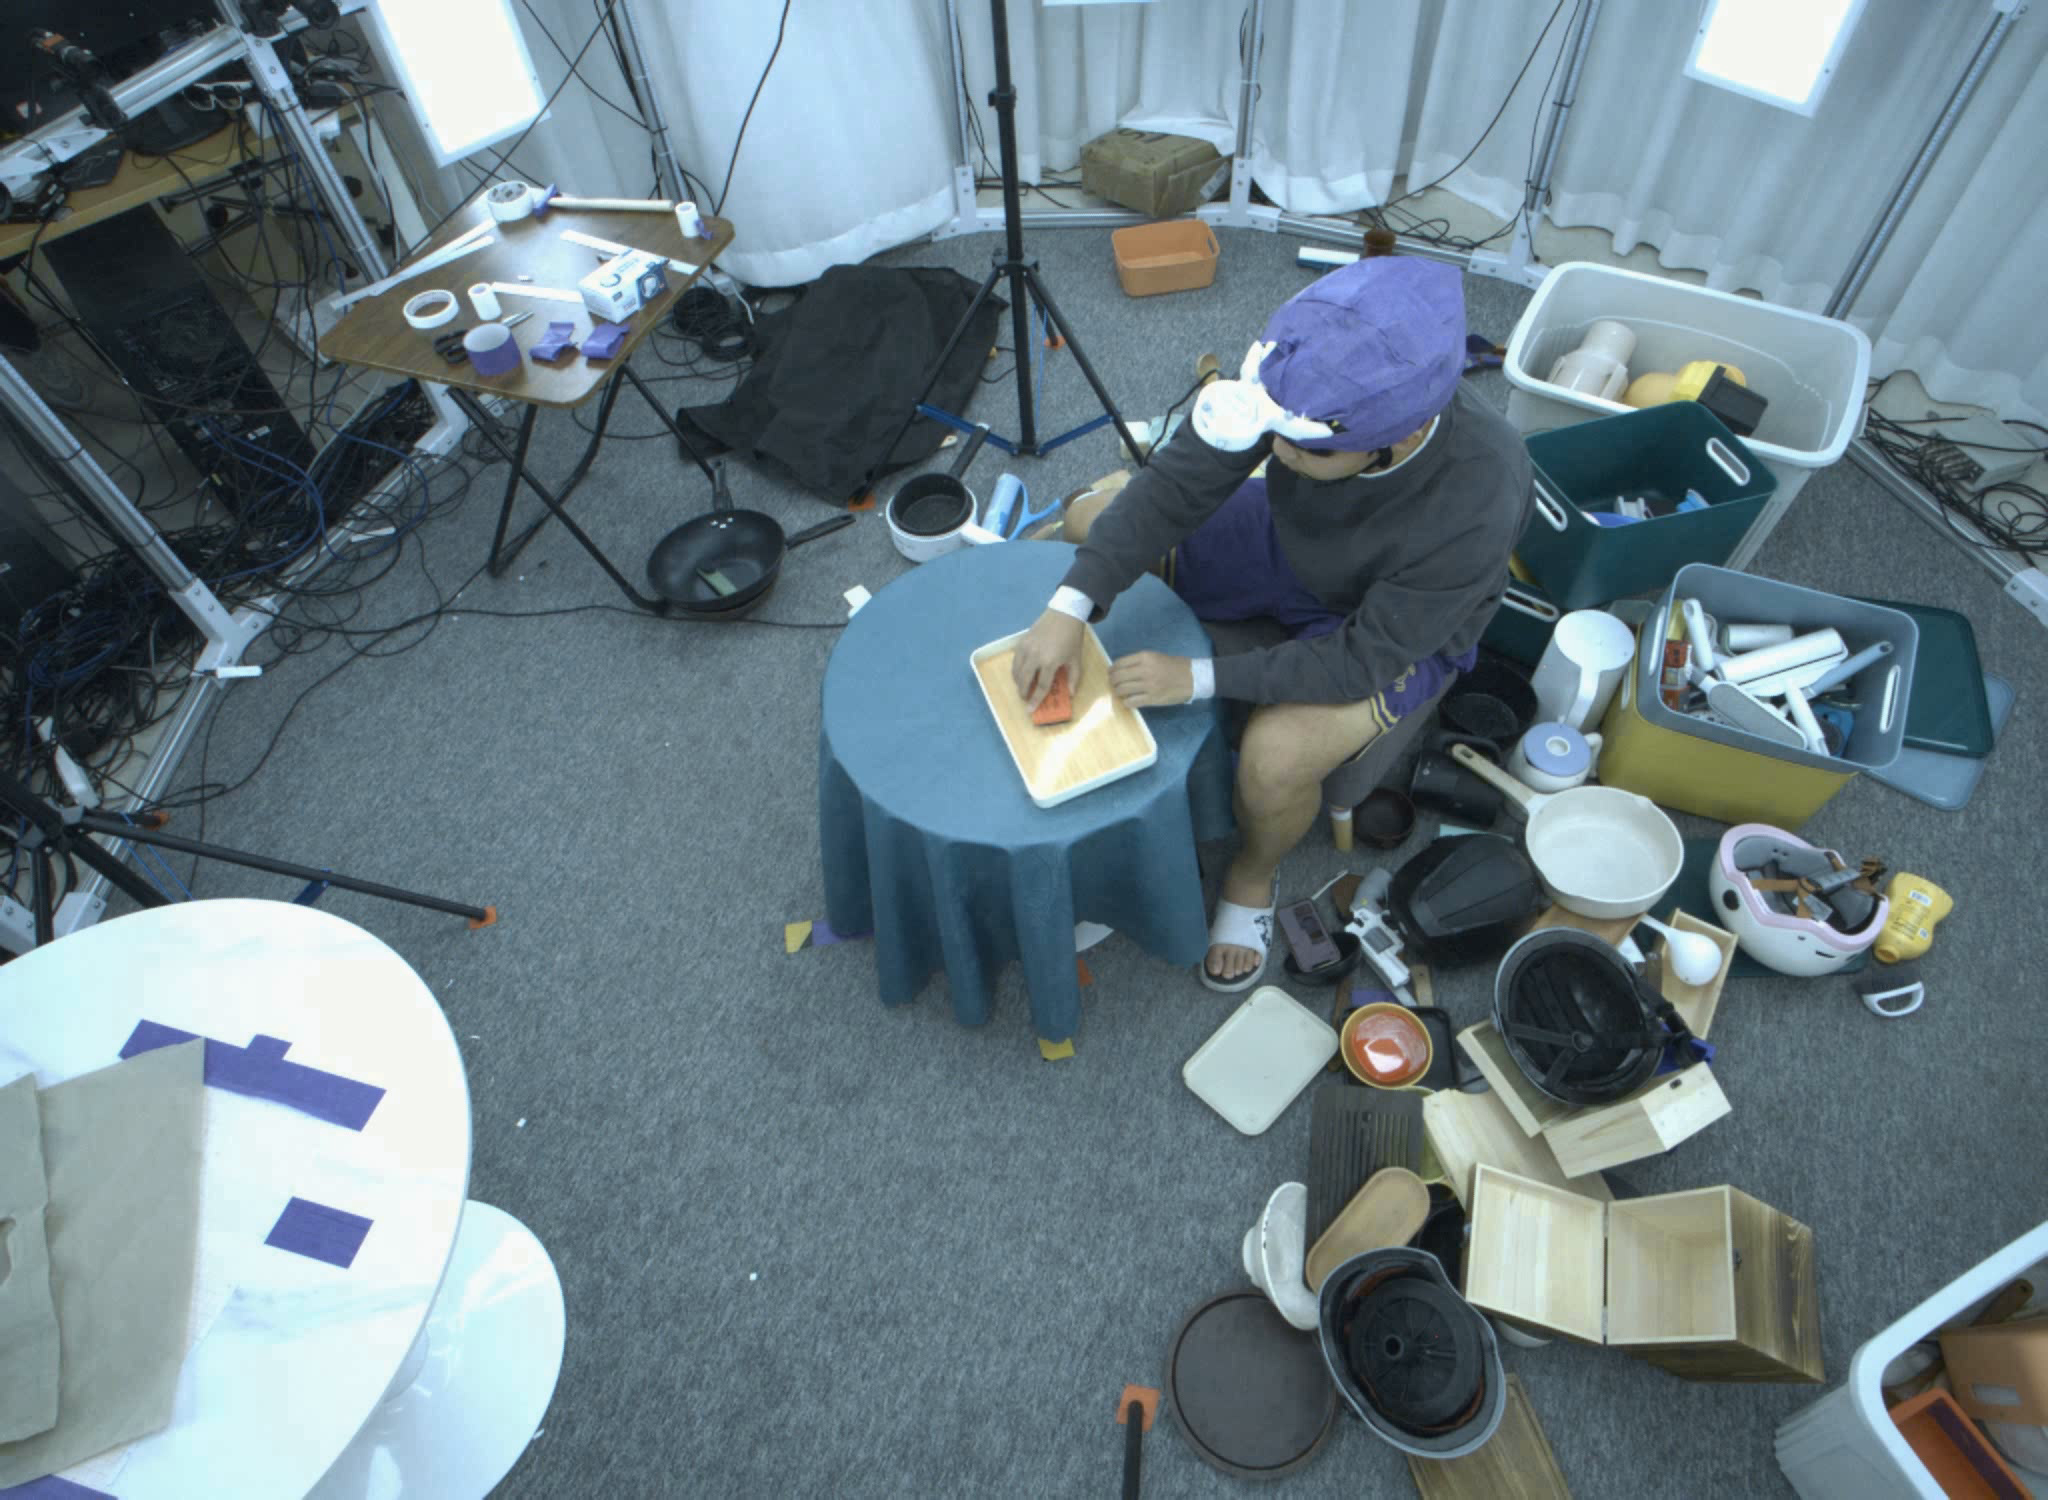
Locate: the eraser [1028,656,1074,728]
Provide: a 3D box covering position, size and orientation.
[{"bbox_3d":[0.040,-0.087,1.811,0.059,0.023,0.107,-10,60,3],"label":"eraser"}]

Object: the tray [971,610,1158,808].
[{"bbox_3d":[0.055,-0.066,1.805,0.192,0.028,0.295,-22,57,-5],"label":"tray"}]
